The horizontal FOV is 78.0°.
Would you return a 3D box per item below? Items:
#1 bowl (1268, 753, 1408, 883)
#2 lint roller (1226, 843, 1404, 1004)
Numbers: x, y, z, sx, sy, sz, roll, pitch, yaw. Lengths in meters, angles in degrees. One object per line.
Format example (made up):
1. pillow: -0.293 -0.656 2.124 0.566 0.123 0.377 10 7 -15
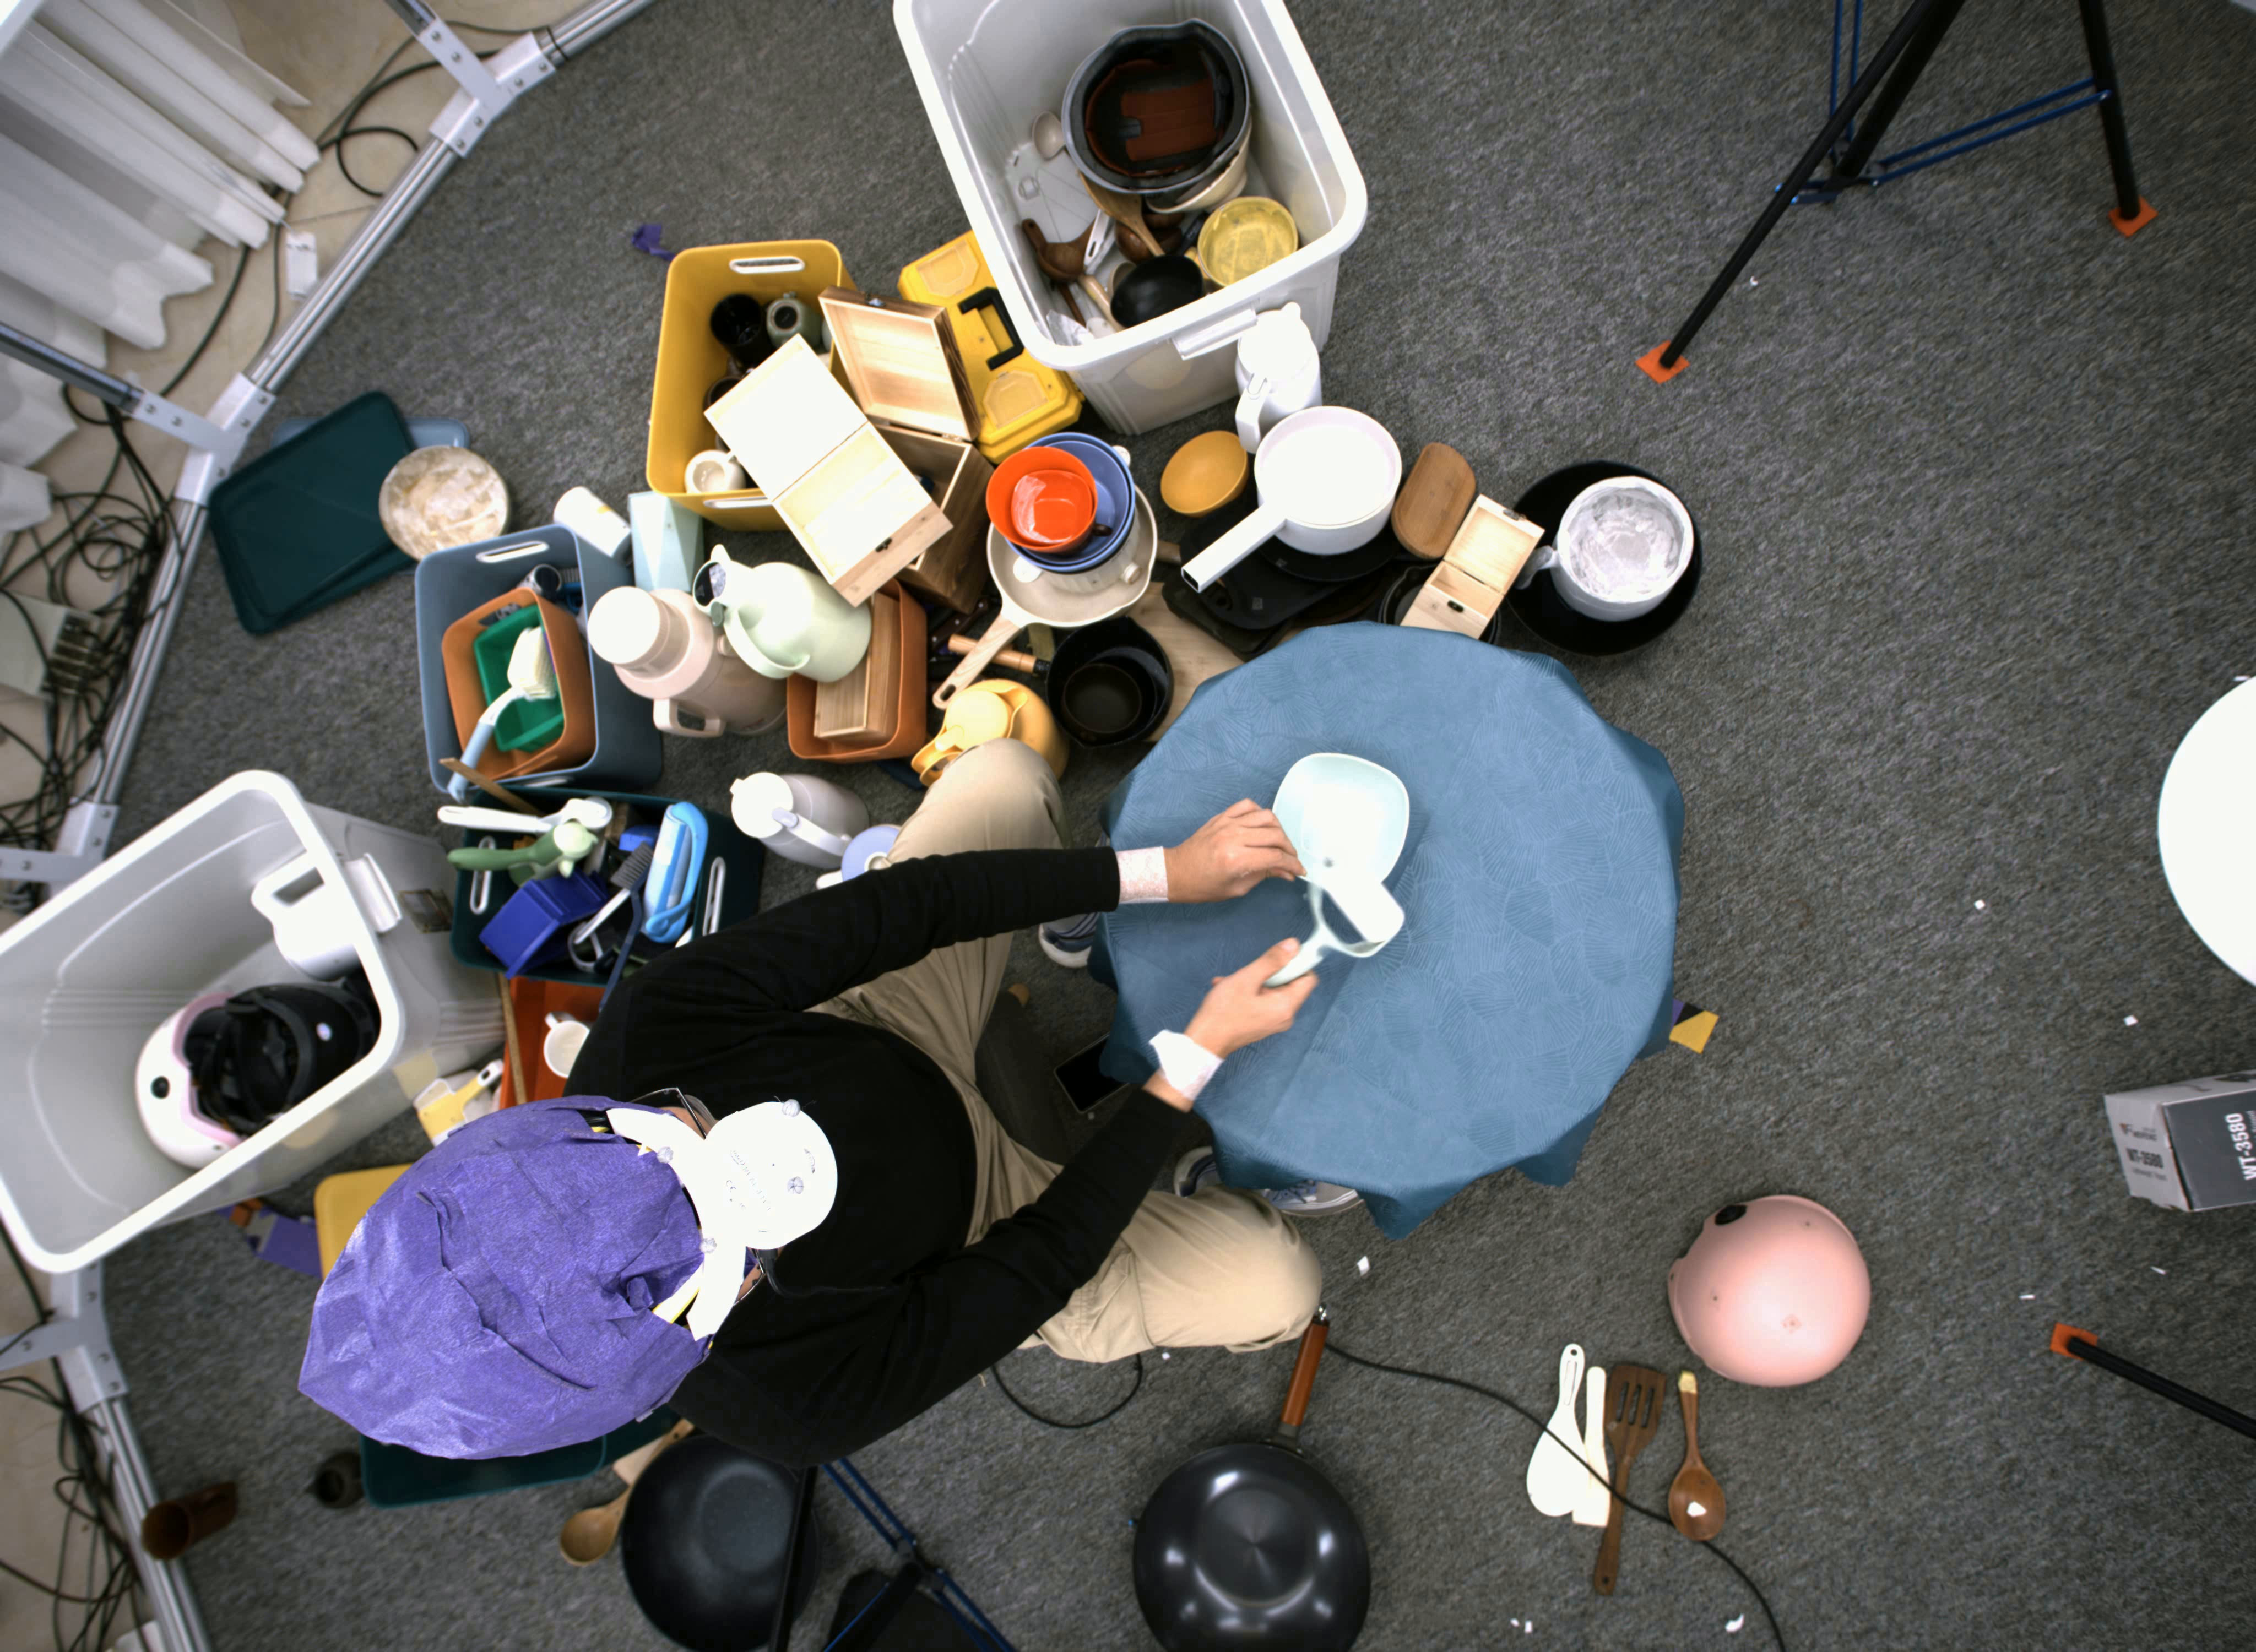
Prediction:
1. bowl: 0.220 -0.002 1.445 0.152 0.059 0.150 -1 84 9
2. lint roller: 0.177 0.113 1.380 0.198 0.118 0.048 -42 37 3
